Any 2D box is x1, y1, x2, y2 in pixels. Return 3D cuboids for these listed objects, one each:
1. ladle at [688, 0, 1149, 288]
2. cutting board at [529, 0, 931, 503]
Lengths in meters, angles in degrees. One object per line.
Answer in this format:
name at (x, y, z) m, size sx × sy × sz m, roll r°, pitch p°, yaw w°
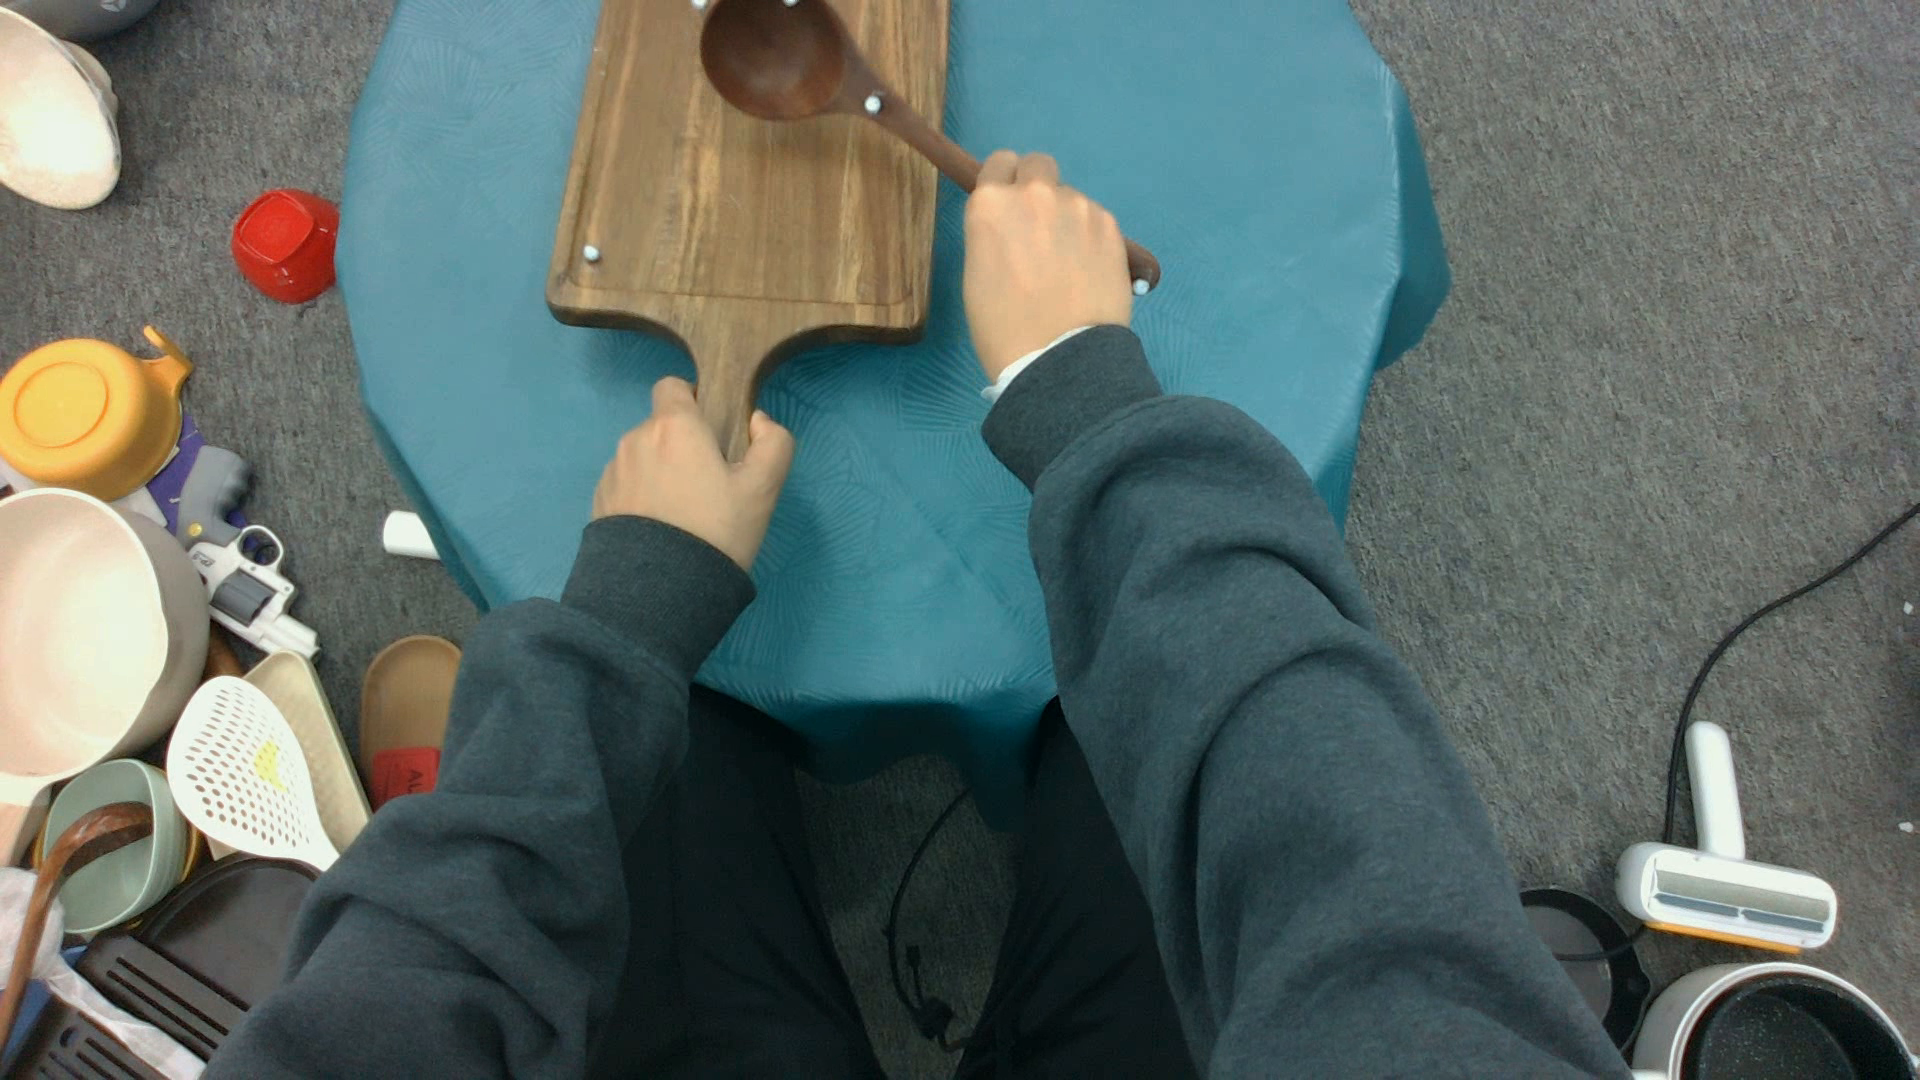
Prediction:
ladle at (-0.022, -0.197, 0.678) m, size 0.260 × 0.076 × 0.065 m, roll 39°, pitch 41°, yaw 9°
cutting board at (-0.120, -0.183, 0.734) m, size 0.201 × 0.023 × 0.353 m, roll 2°, pitch 66°, yaw 0°
